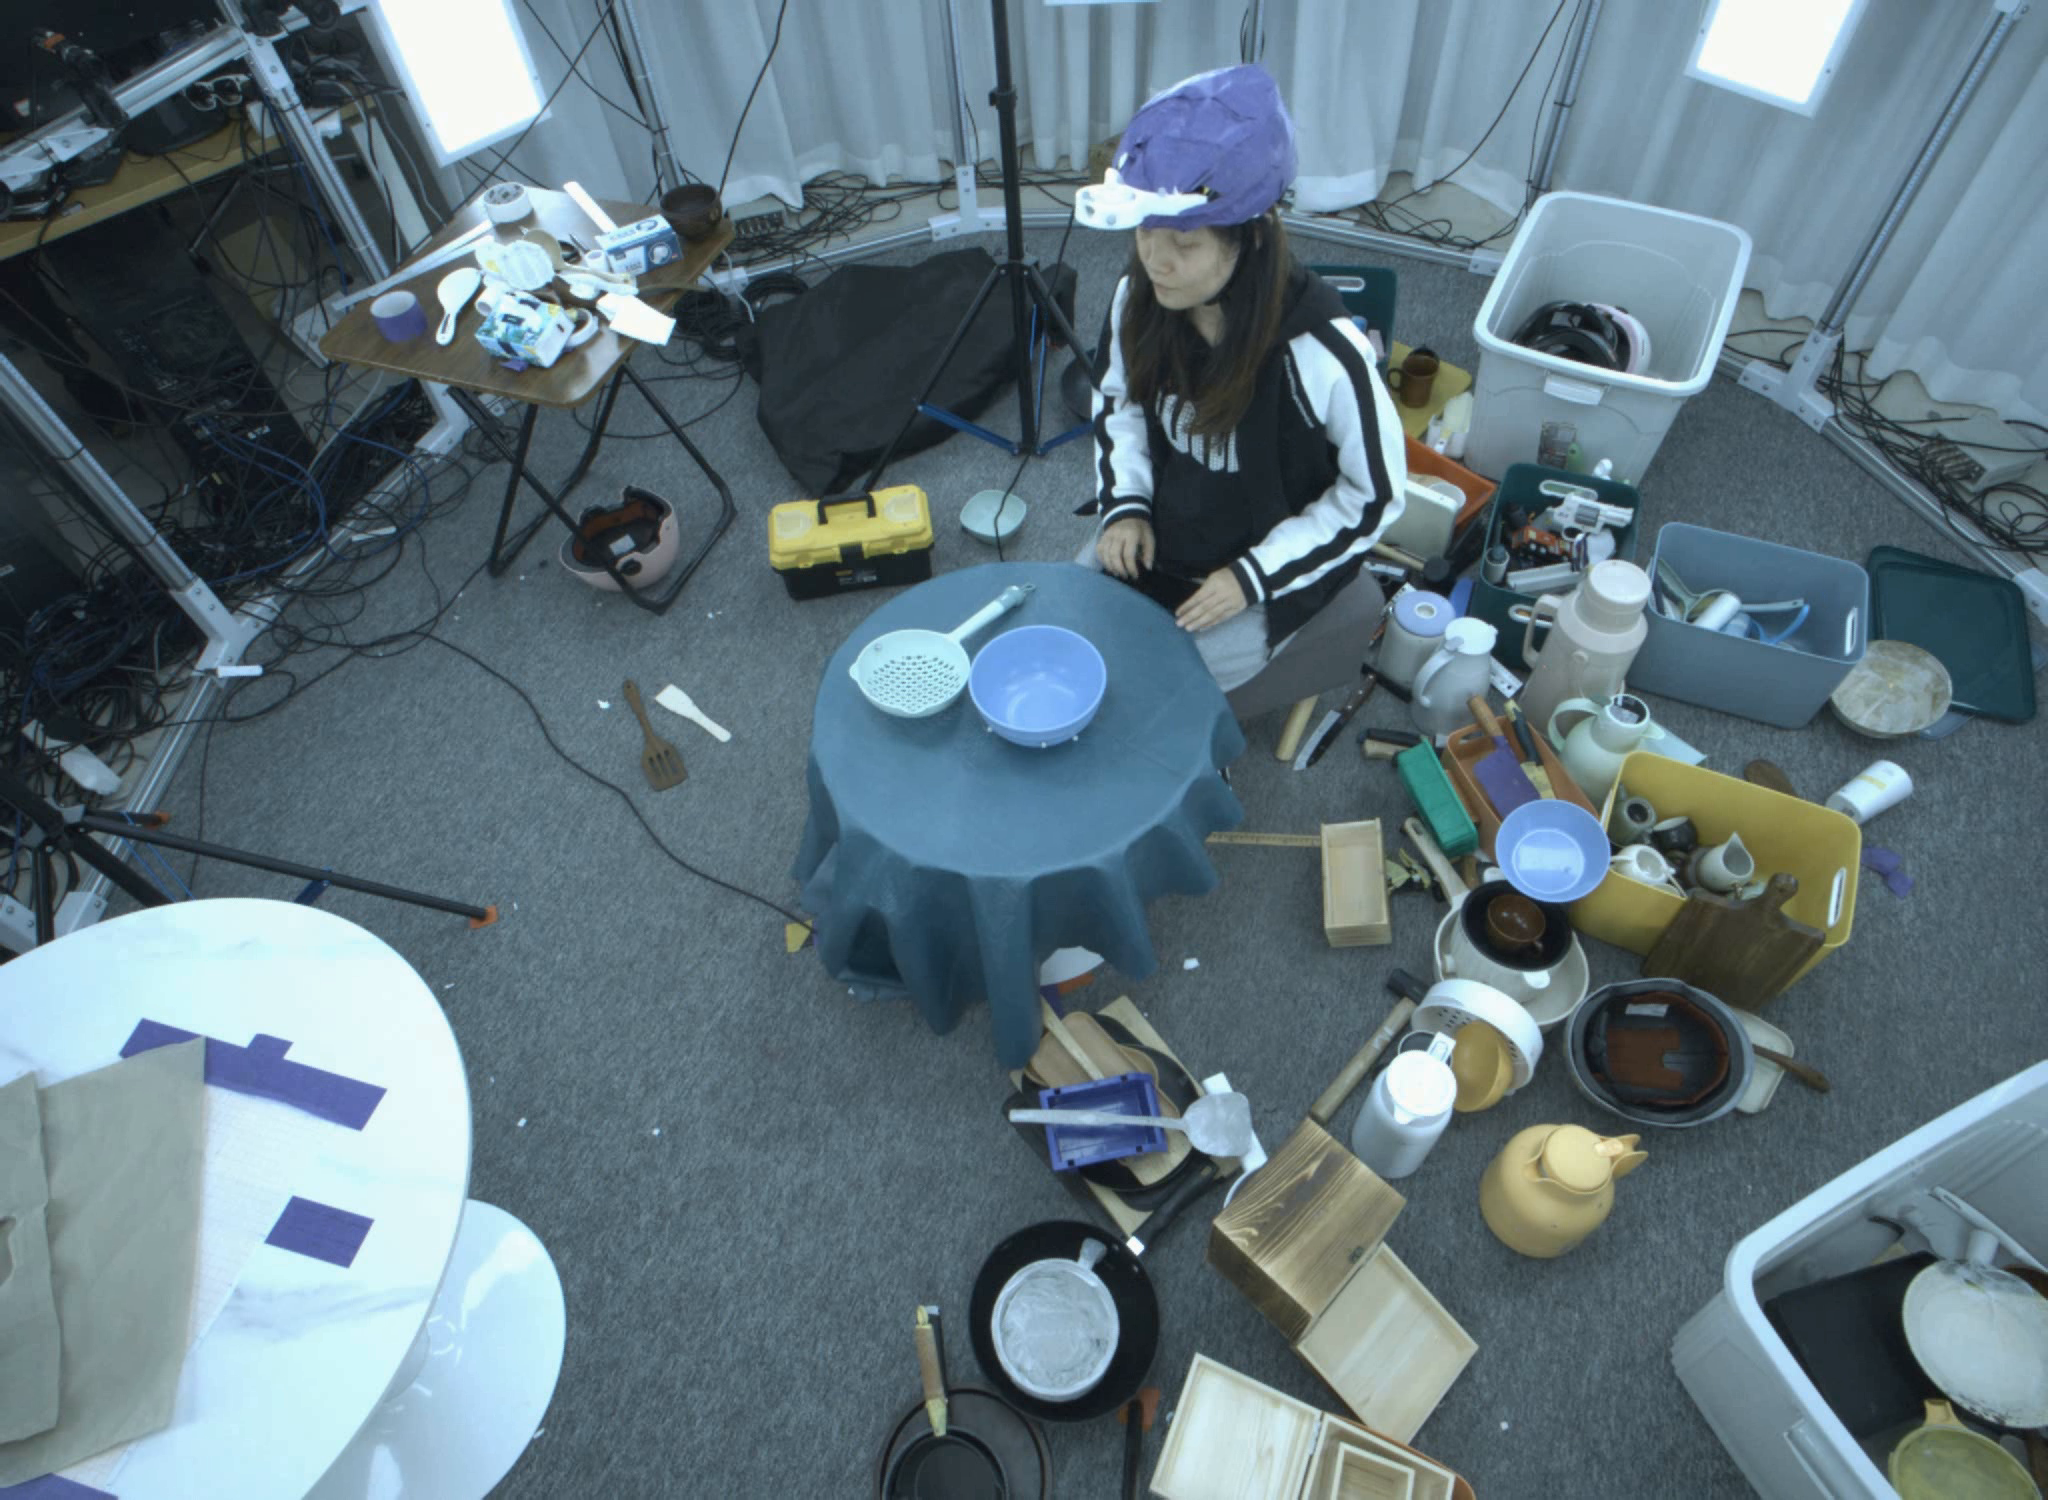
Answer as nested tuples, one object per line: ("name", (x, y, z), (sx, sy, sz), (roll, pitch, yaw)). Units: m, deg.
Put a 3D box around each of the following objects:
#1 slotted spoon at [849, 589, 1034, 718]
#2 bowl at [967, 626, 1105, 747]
("slotted spoon", (-0.104, -0.165, 1.872), (0.166, 0.076, 0.361), (33, 60, 22))
("bowl", (0.020, -0.077, 1.784), (0.196, 0.096, 0.194), (-1, 54, 2))
